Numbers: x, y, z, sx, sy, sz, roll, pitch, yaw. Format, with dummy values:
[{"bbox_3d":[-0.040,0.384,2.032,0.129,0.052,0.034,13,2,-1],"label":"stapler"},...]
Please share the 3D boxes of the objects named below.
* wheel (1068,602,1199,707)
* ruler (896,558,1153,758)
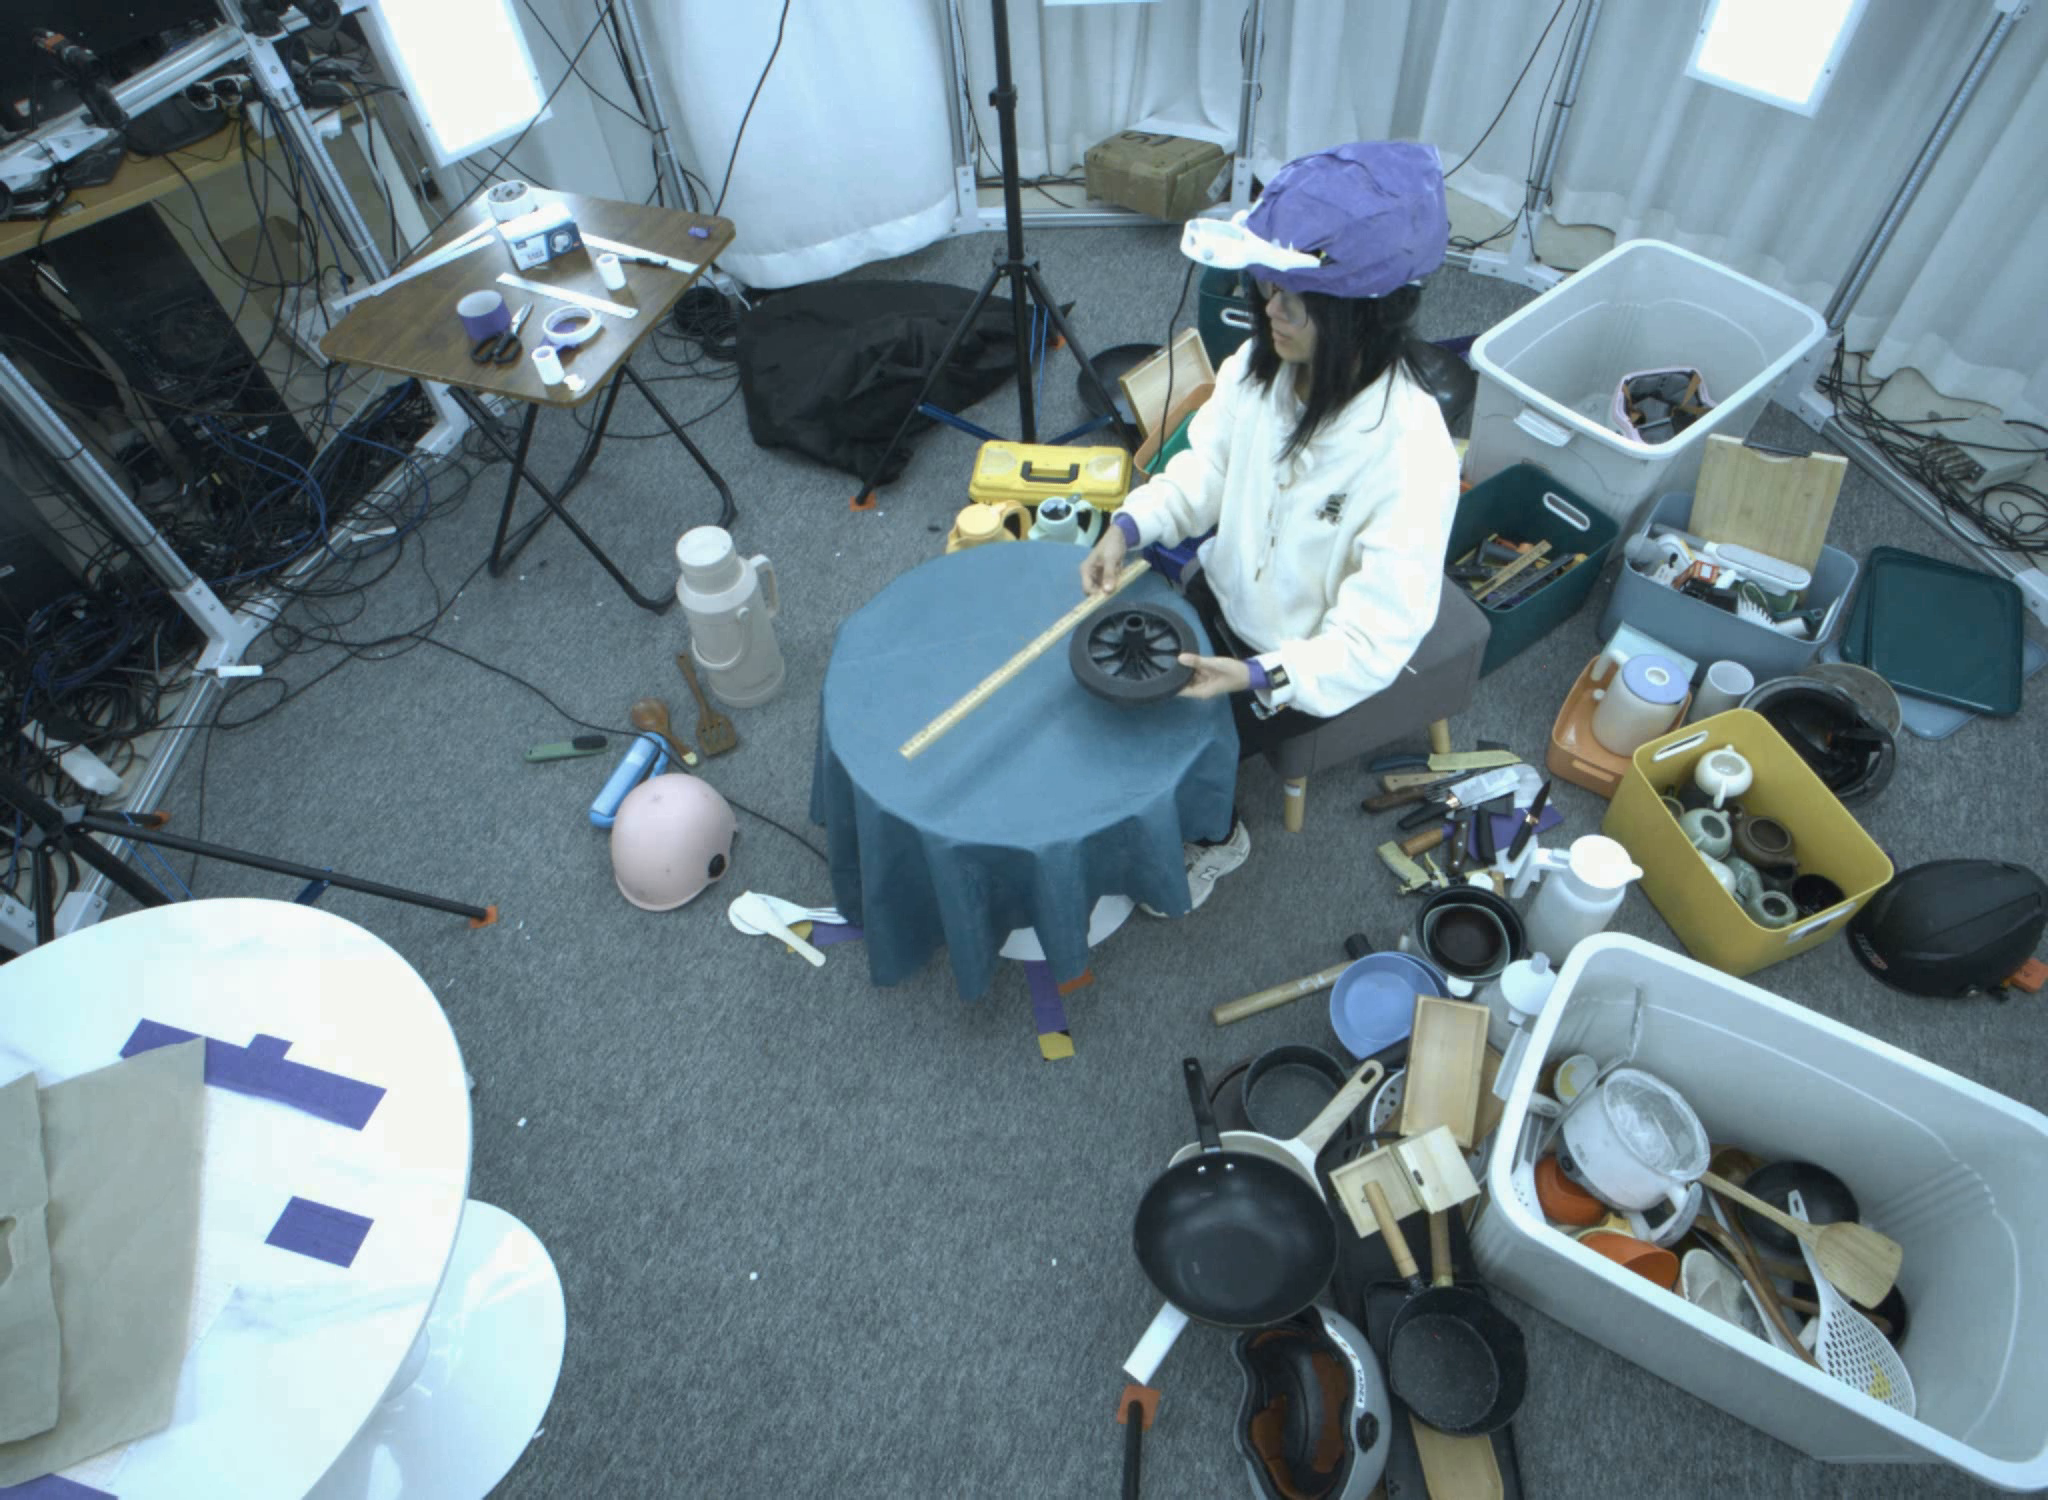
[{"bbox_3d":[0.157,-0.153,1.763,0.186,0.080,0.188,34,62,23],"label":"wheel"},{"bbox_3d":[0.009,-0.143,1.775,0.026,0.006,0.504,36,62,29],"label":"ruler"}]
